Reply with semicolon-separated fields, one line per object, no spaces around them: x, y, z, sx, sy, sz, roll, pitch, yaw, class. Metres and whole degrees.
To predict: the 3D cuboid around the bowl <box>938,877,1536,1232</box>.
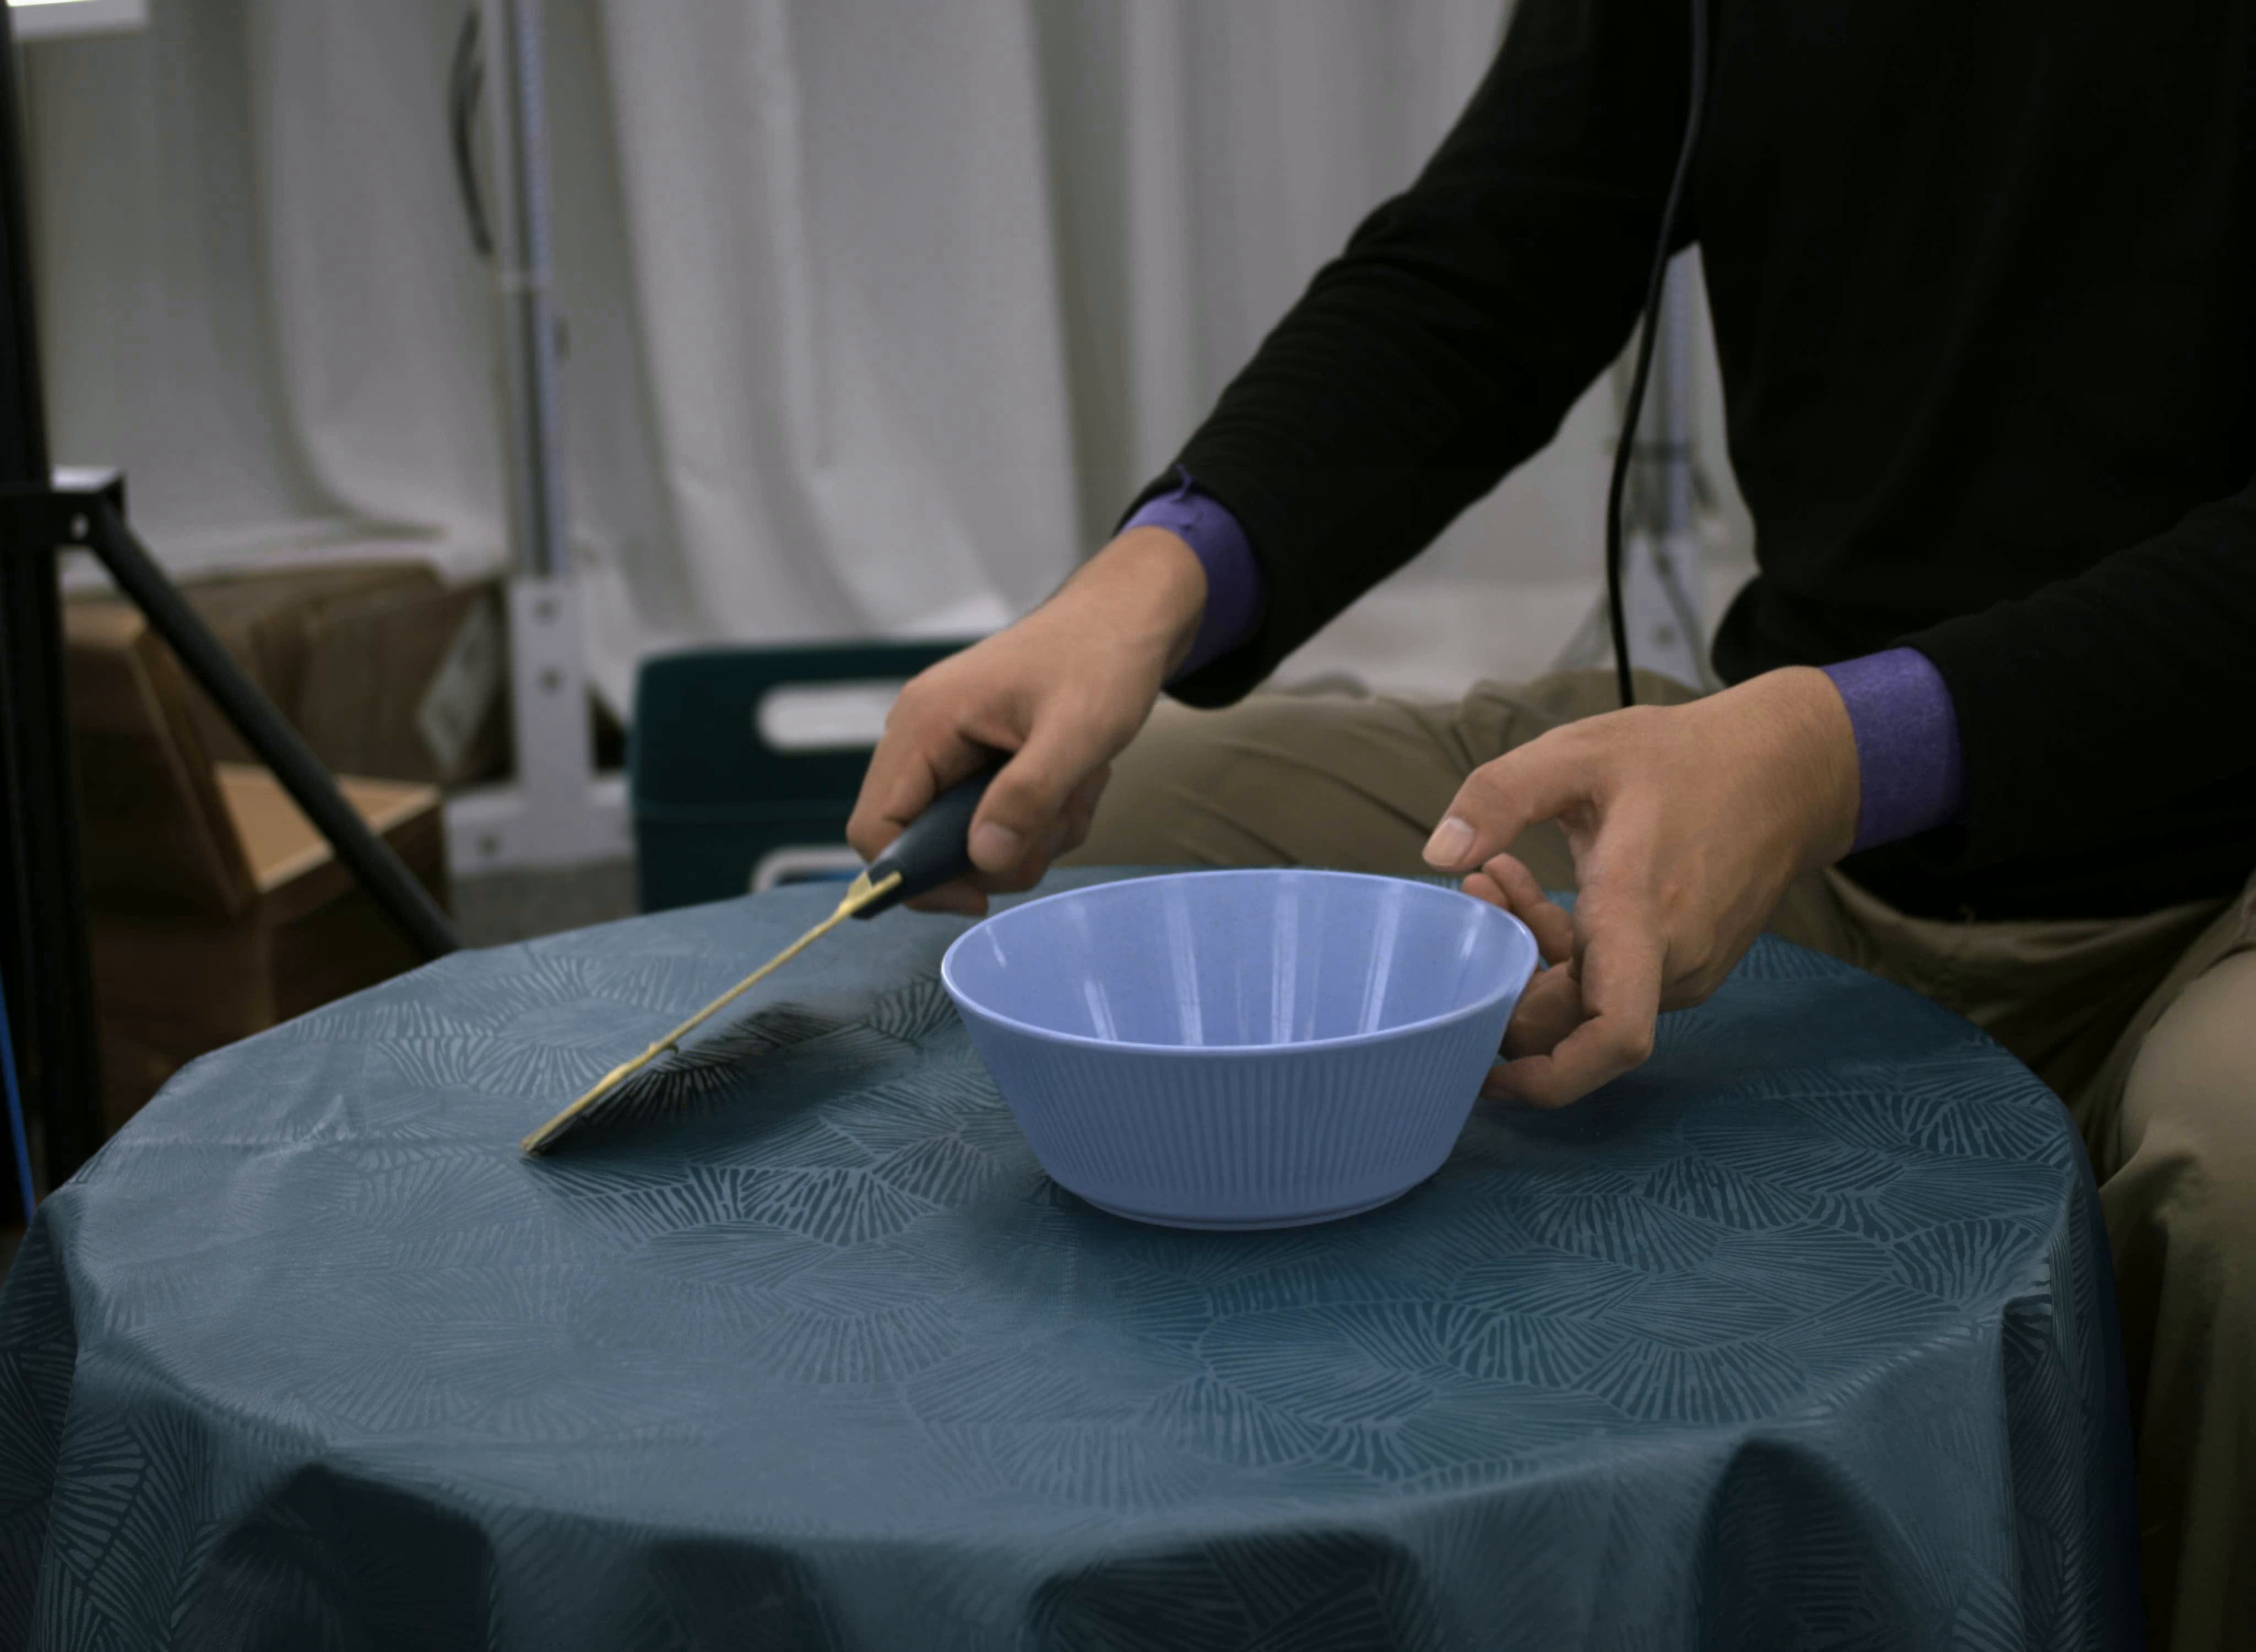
0.033;0.069;1.561;0.175;0.070;0.177;-3;15;0;bowl

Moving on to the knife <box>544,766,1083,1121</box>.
-0.099;0.038;1.713;0.082;0.027;0.285;-30;2;38;knife
